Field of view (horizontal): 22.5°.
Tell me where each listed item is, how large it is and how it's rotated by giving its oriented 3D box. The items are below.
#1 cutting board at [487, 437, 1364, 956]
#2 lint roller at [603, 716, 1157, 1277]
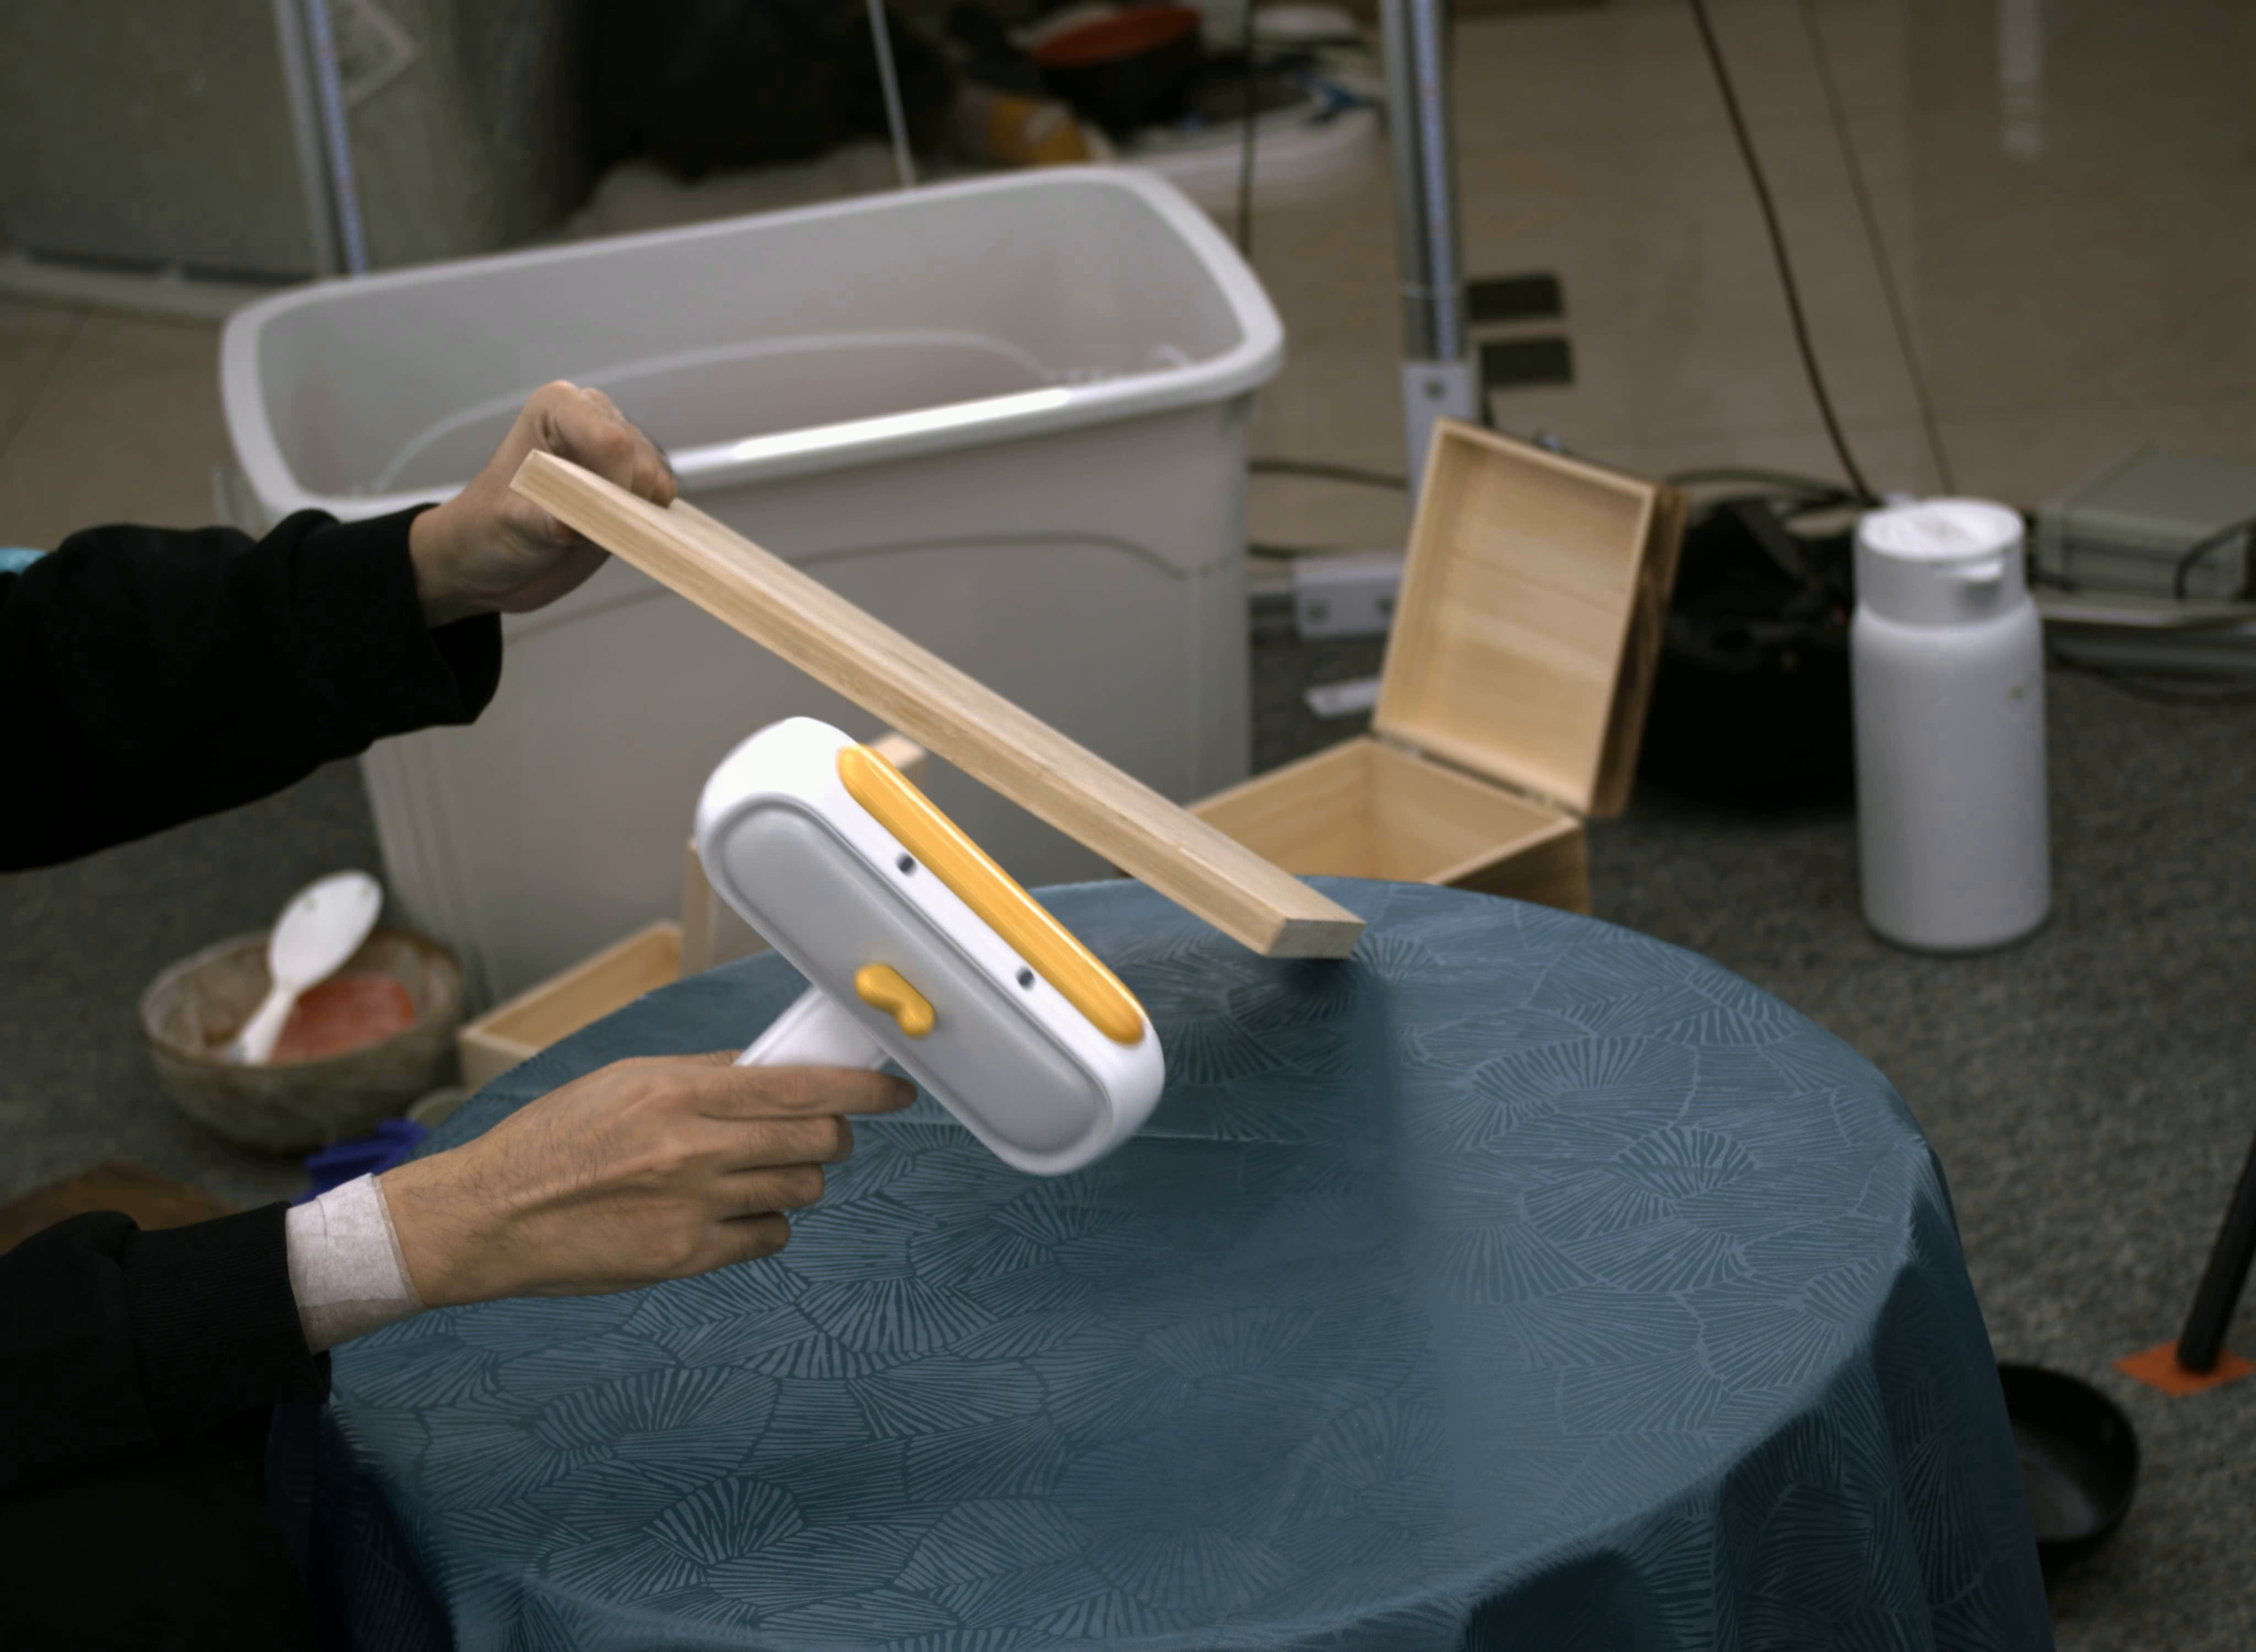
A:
[{"bbox_3d":[-0.073,-0.047,2.213,0.347,0.023,0.251,32,3,8],"label":"cutting board"},{"bbox_3d":[-0.112,0.082,1.980,0.194,0.194,0.073,-43,17,25],"label":"lint roller"}]
